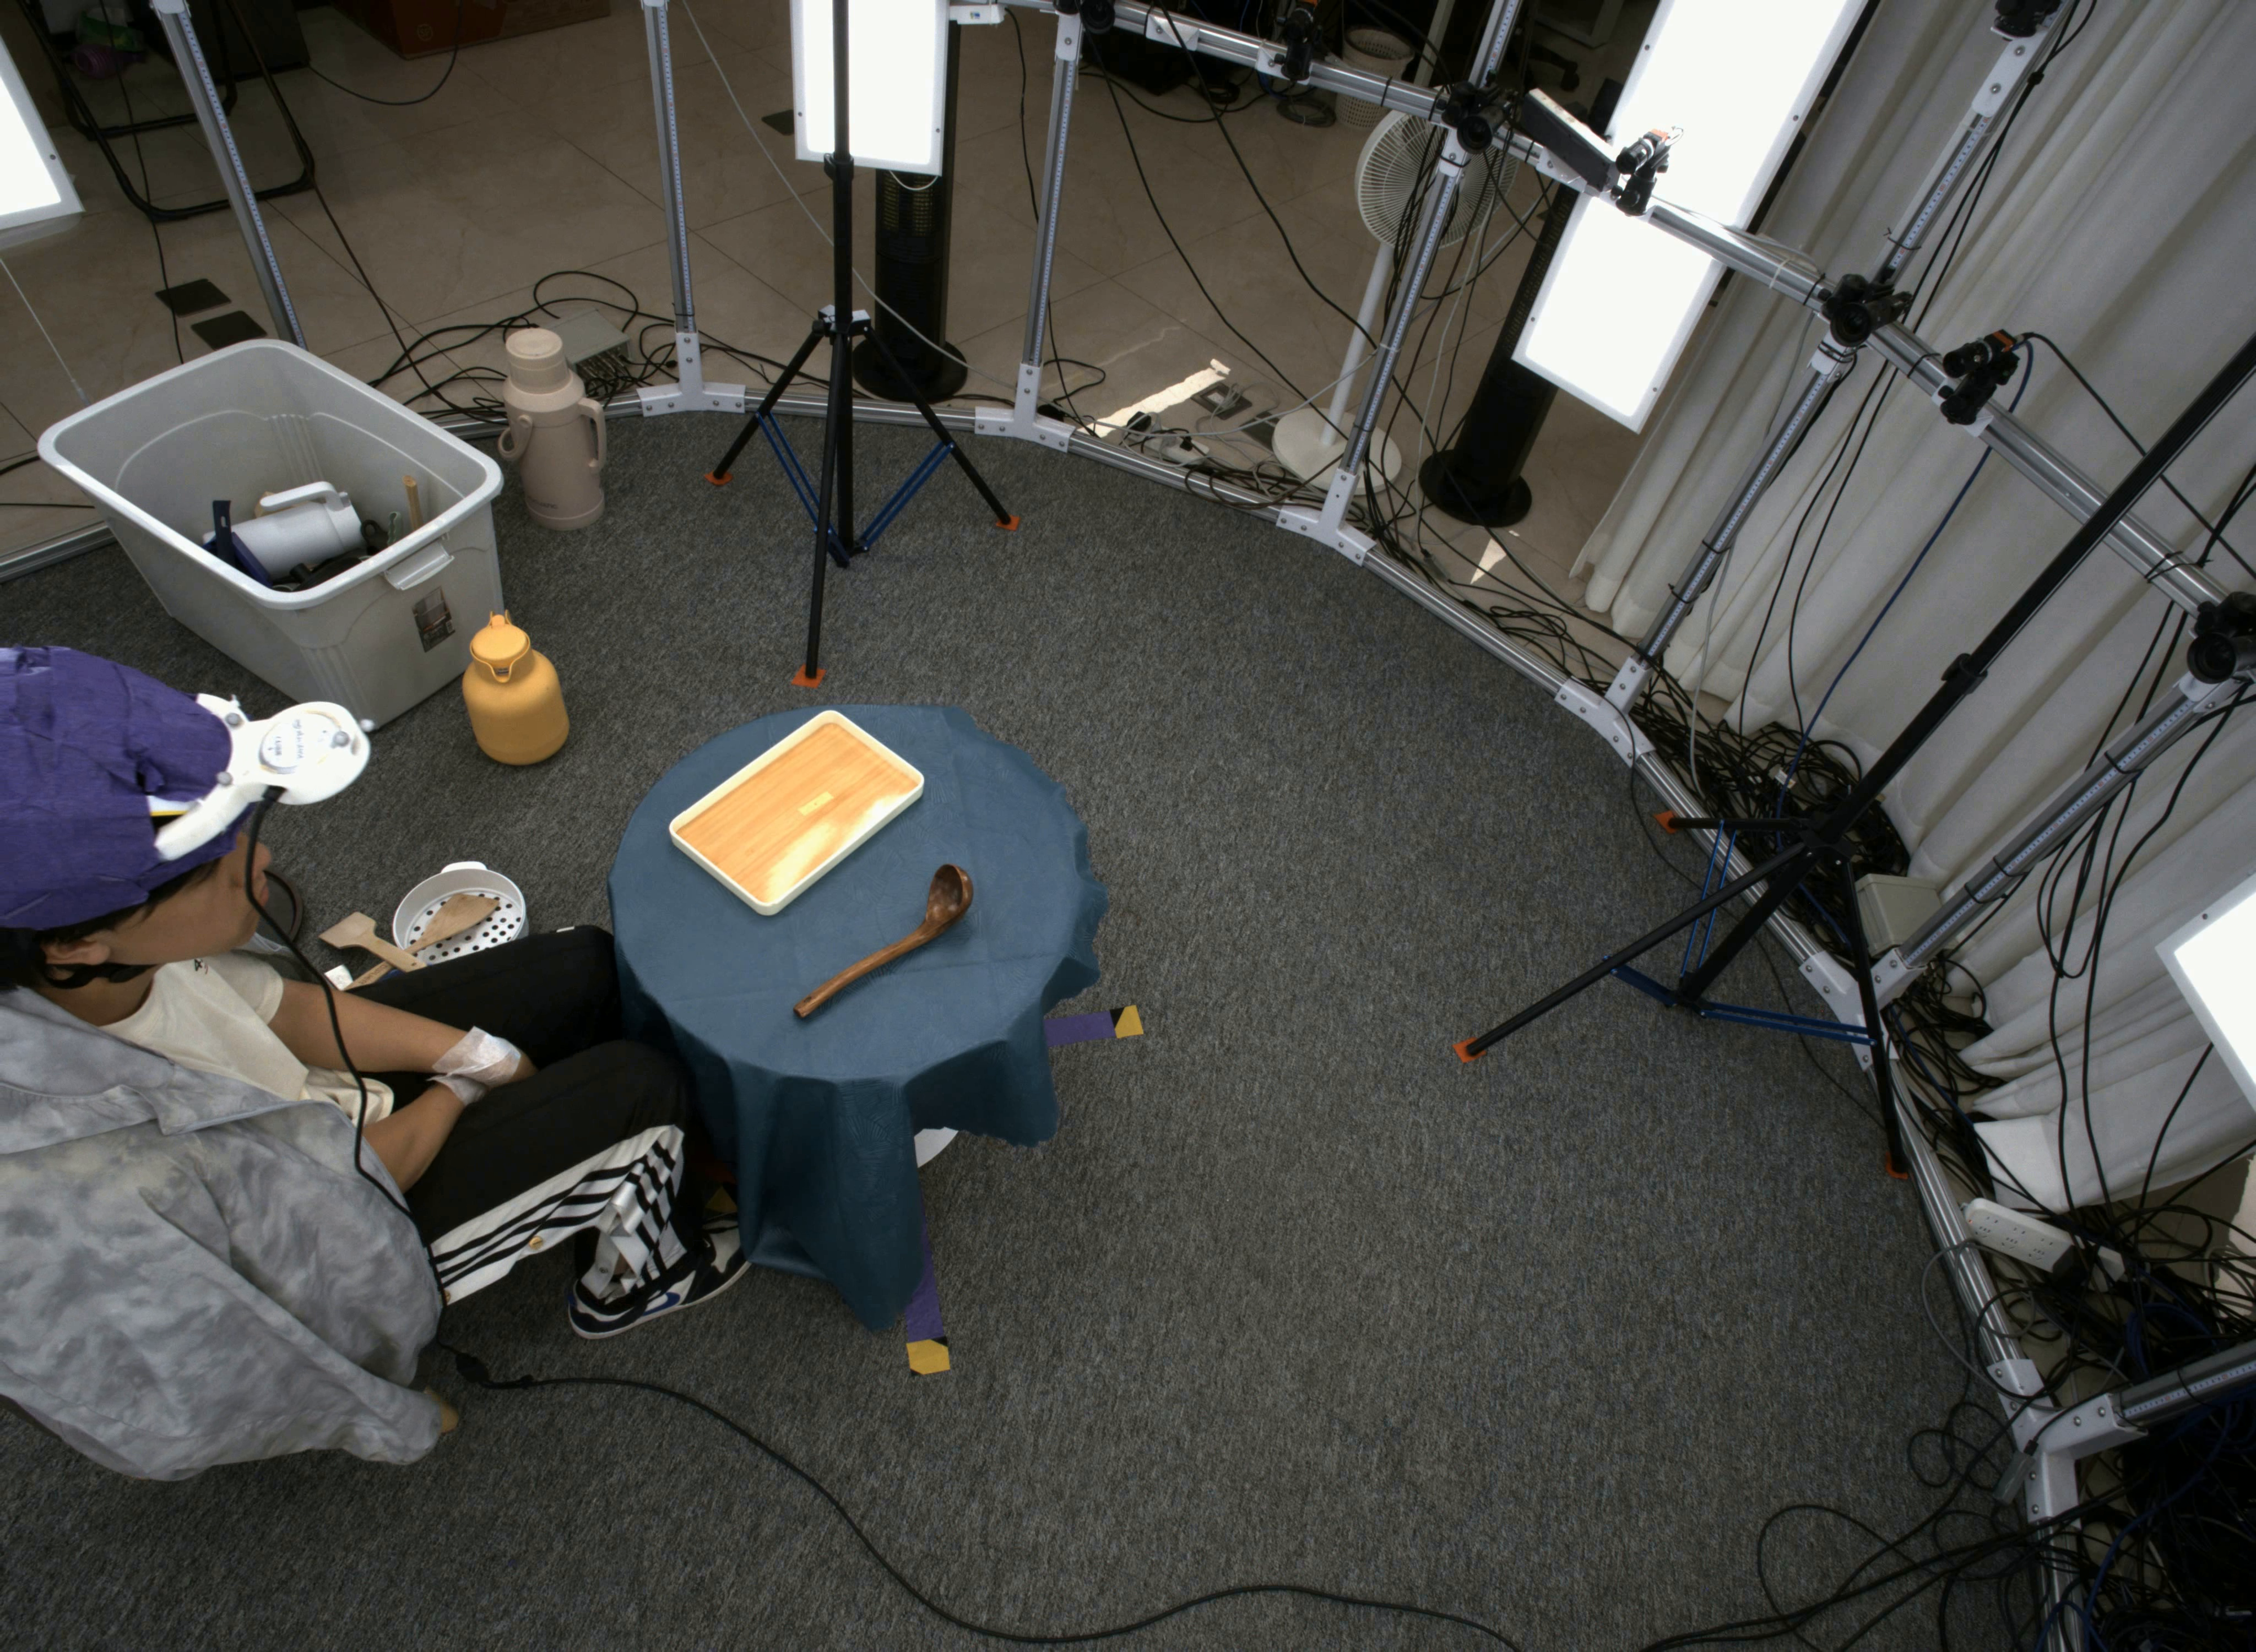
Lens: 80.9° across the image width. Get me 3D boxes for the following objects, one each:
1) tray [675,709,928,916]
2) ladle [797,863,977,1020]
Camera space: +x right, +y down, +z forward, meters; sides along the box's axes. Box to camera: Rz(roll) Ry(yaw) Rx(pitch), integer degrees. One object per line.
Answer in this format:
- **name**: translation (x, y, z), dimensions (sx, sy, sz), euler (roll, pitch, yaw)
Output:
- **tray**: translation (-0.430, -0.025, 1.726), dimensions (0.188, 0.028, 0.300), euler (37, 54, 14)
- **ladle**: translation (-0.301, 0.136, 1.611), dimensions (0.275, 0.079, 0.079), euler (-31, 23, -29)
